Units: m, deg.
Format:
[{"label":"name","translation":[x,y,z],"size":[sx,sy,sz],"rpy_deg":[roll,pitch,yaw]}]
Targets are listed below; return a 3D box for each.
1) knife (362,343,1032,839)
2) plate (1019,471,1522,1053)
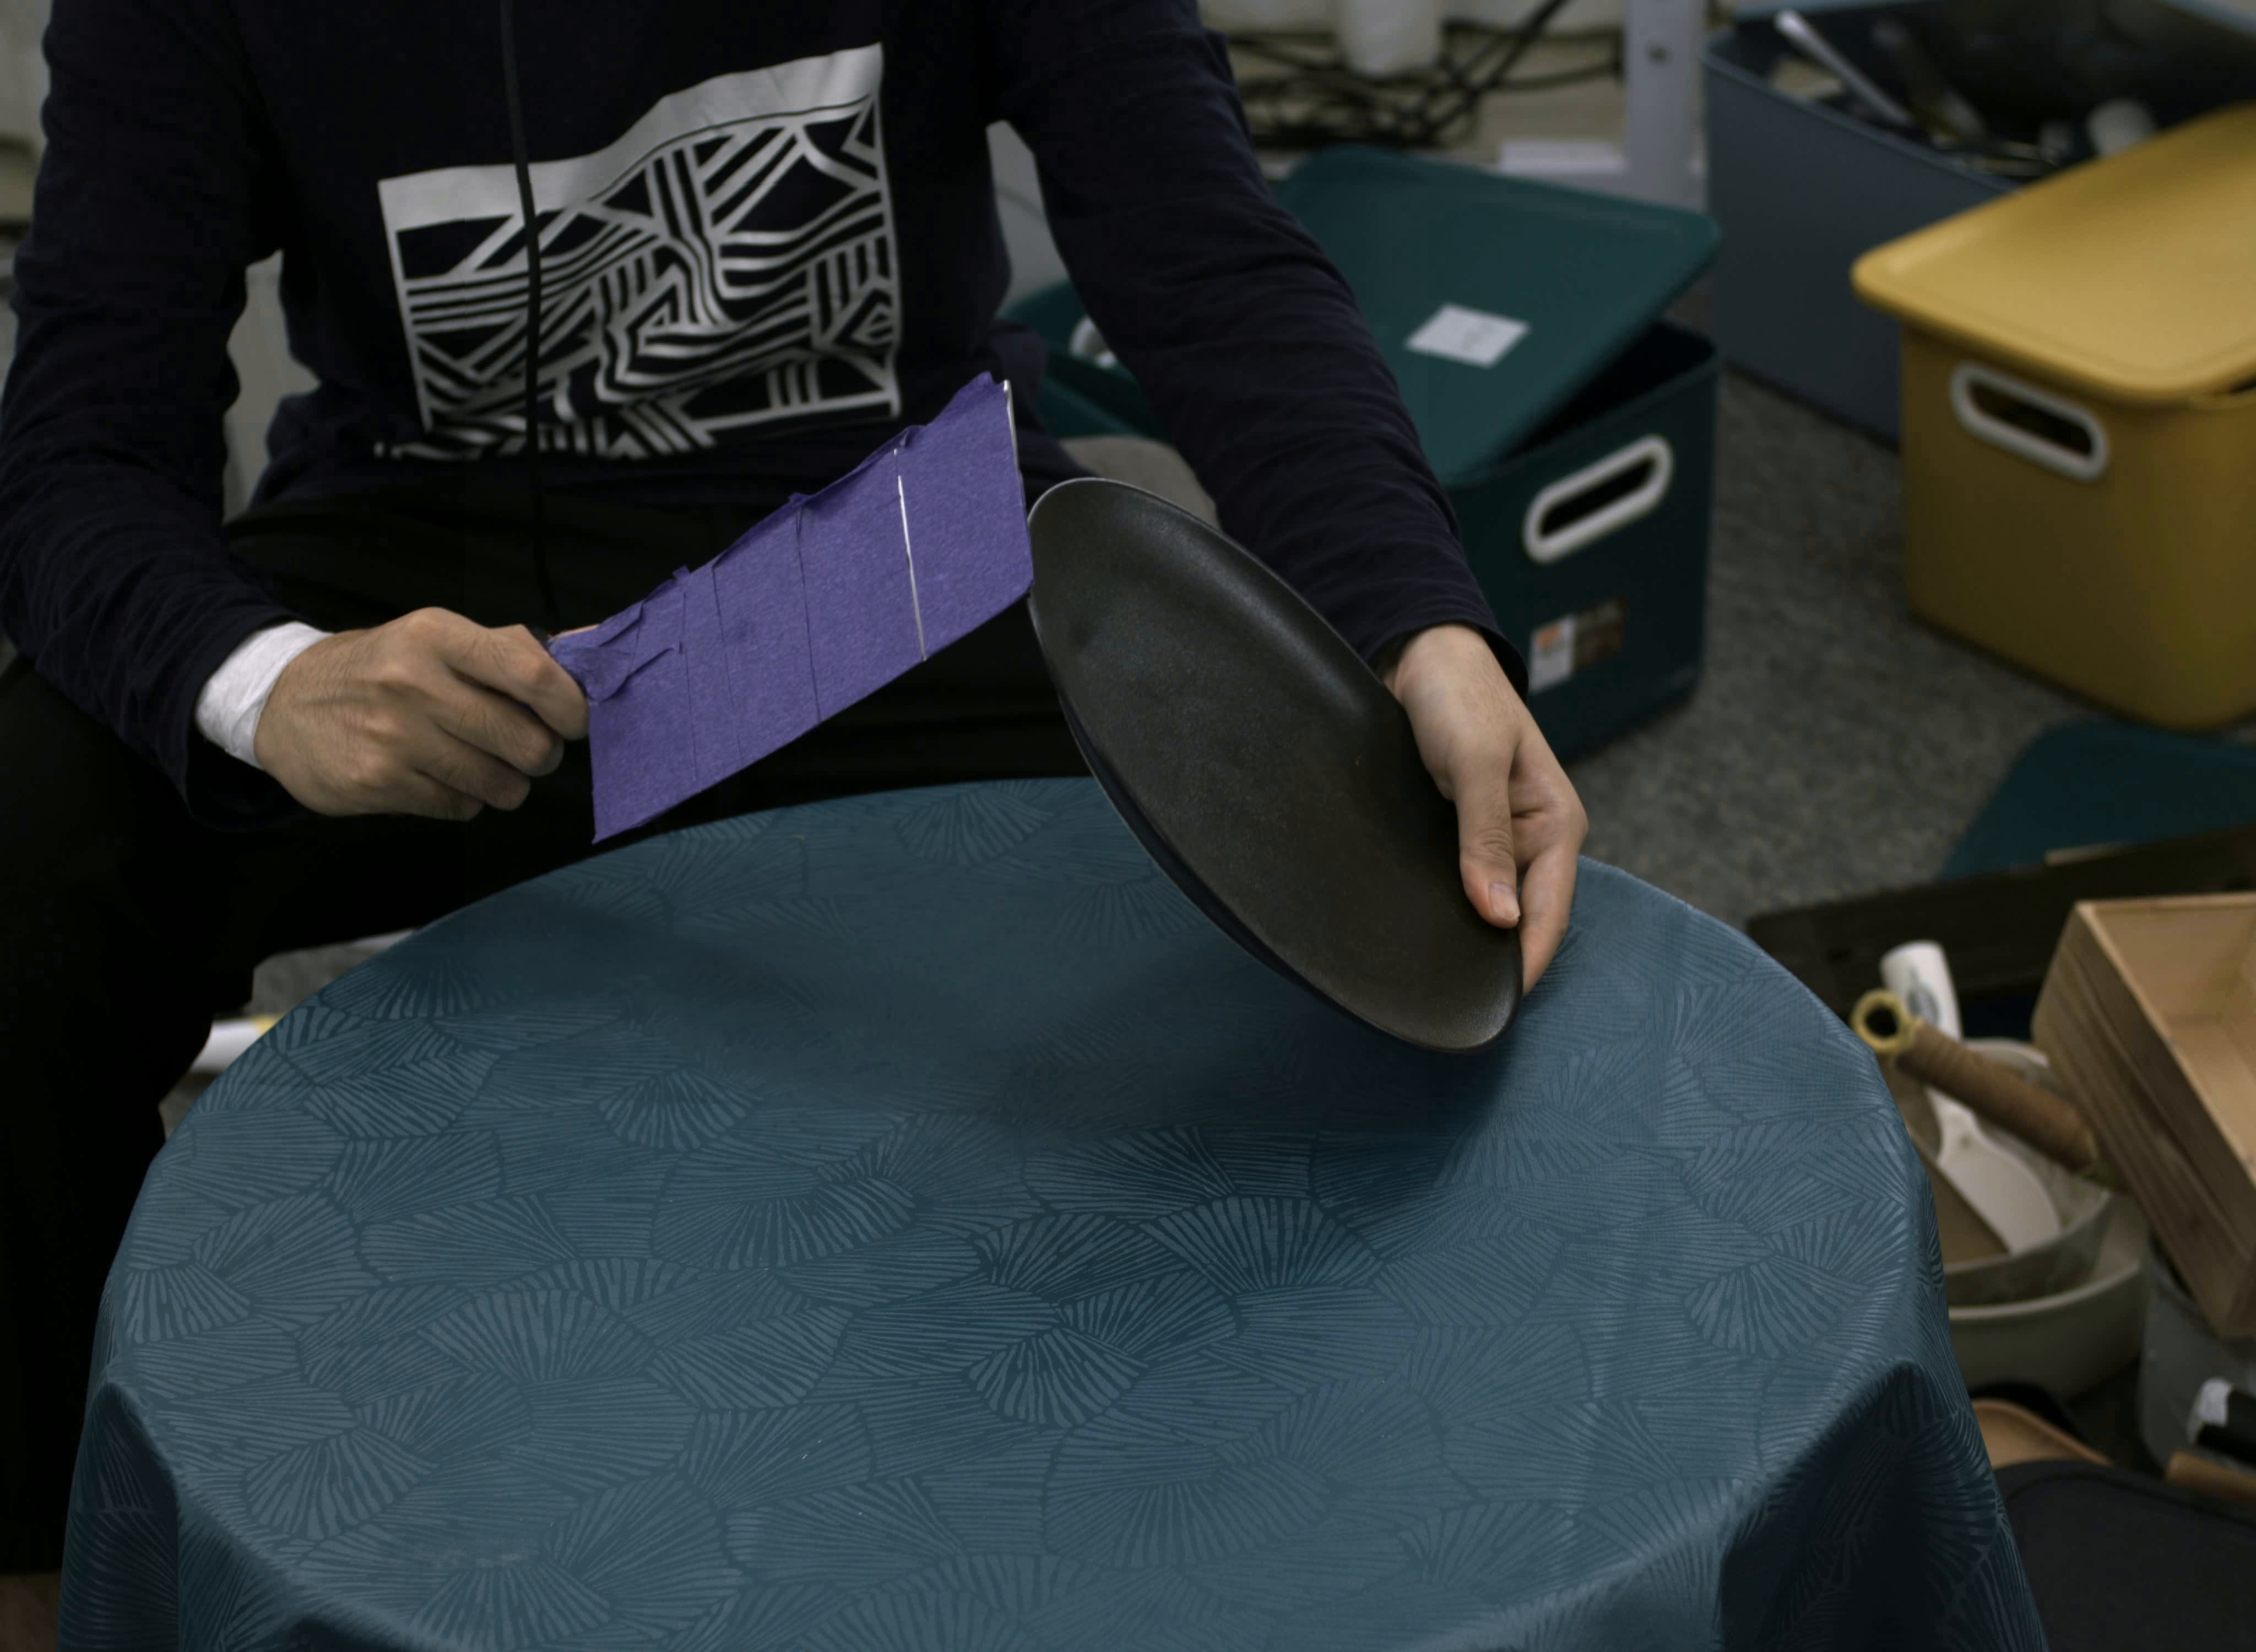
[{"label":"knife","translation":[-0.153,-0.053,1.942],"size":[0.310,0.032,0.106],"rpy_deg":[-32,49,32]},{"label":"plate","translation":[0.044,-0.018,1.917],"size":[0.023,0.243,0.248],"rpy_deg":[-40,16,23]}]
